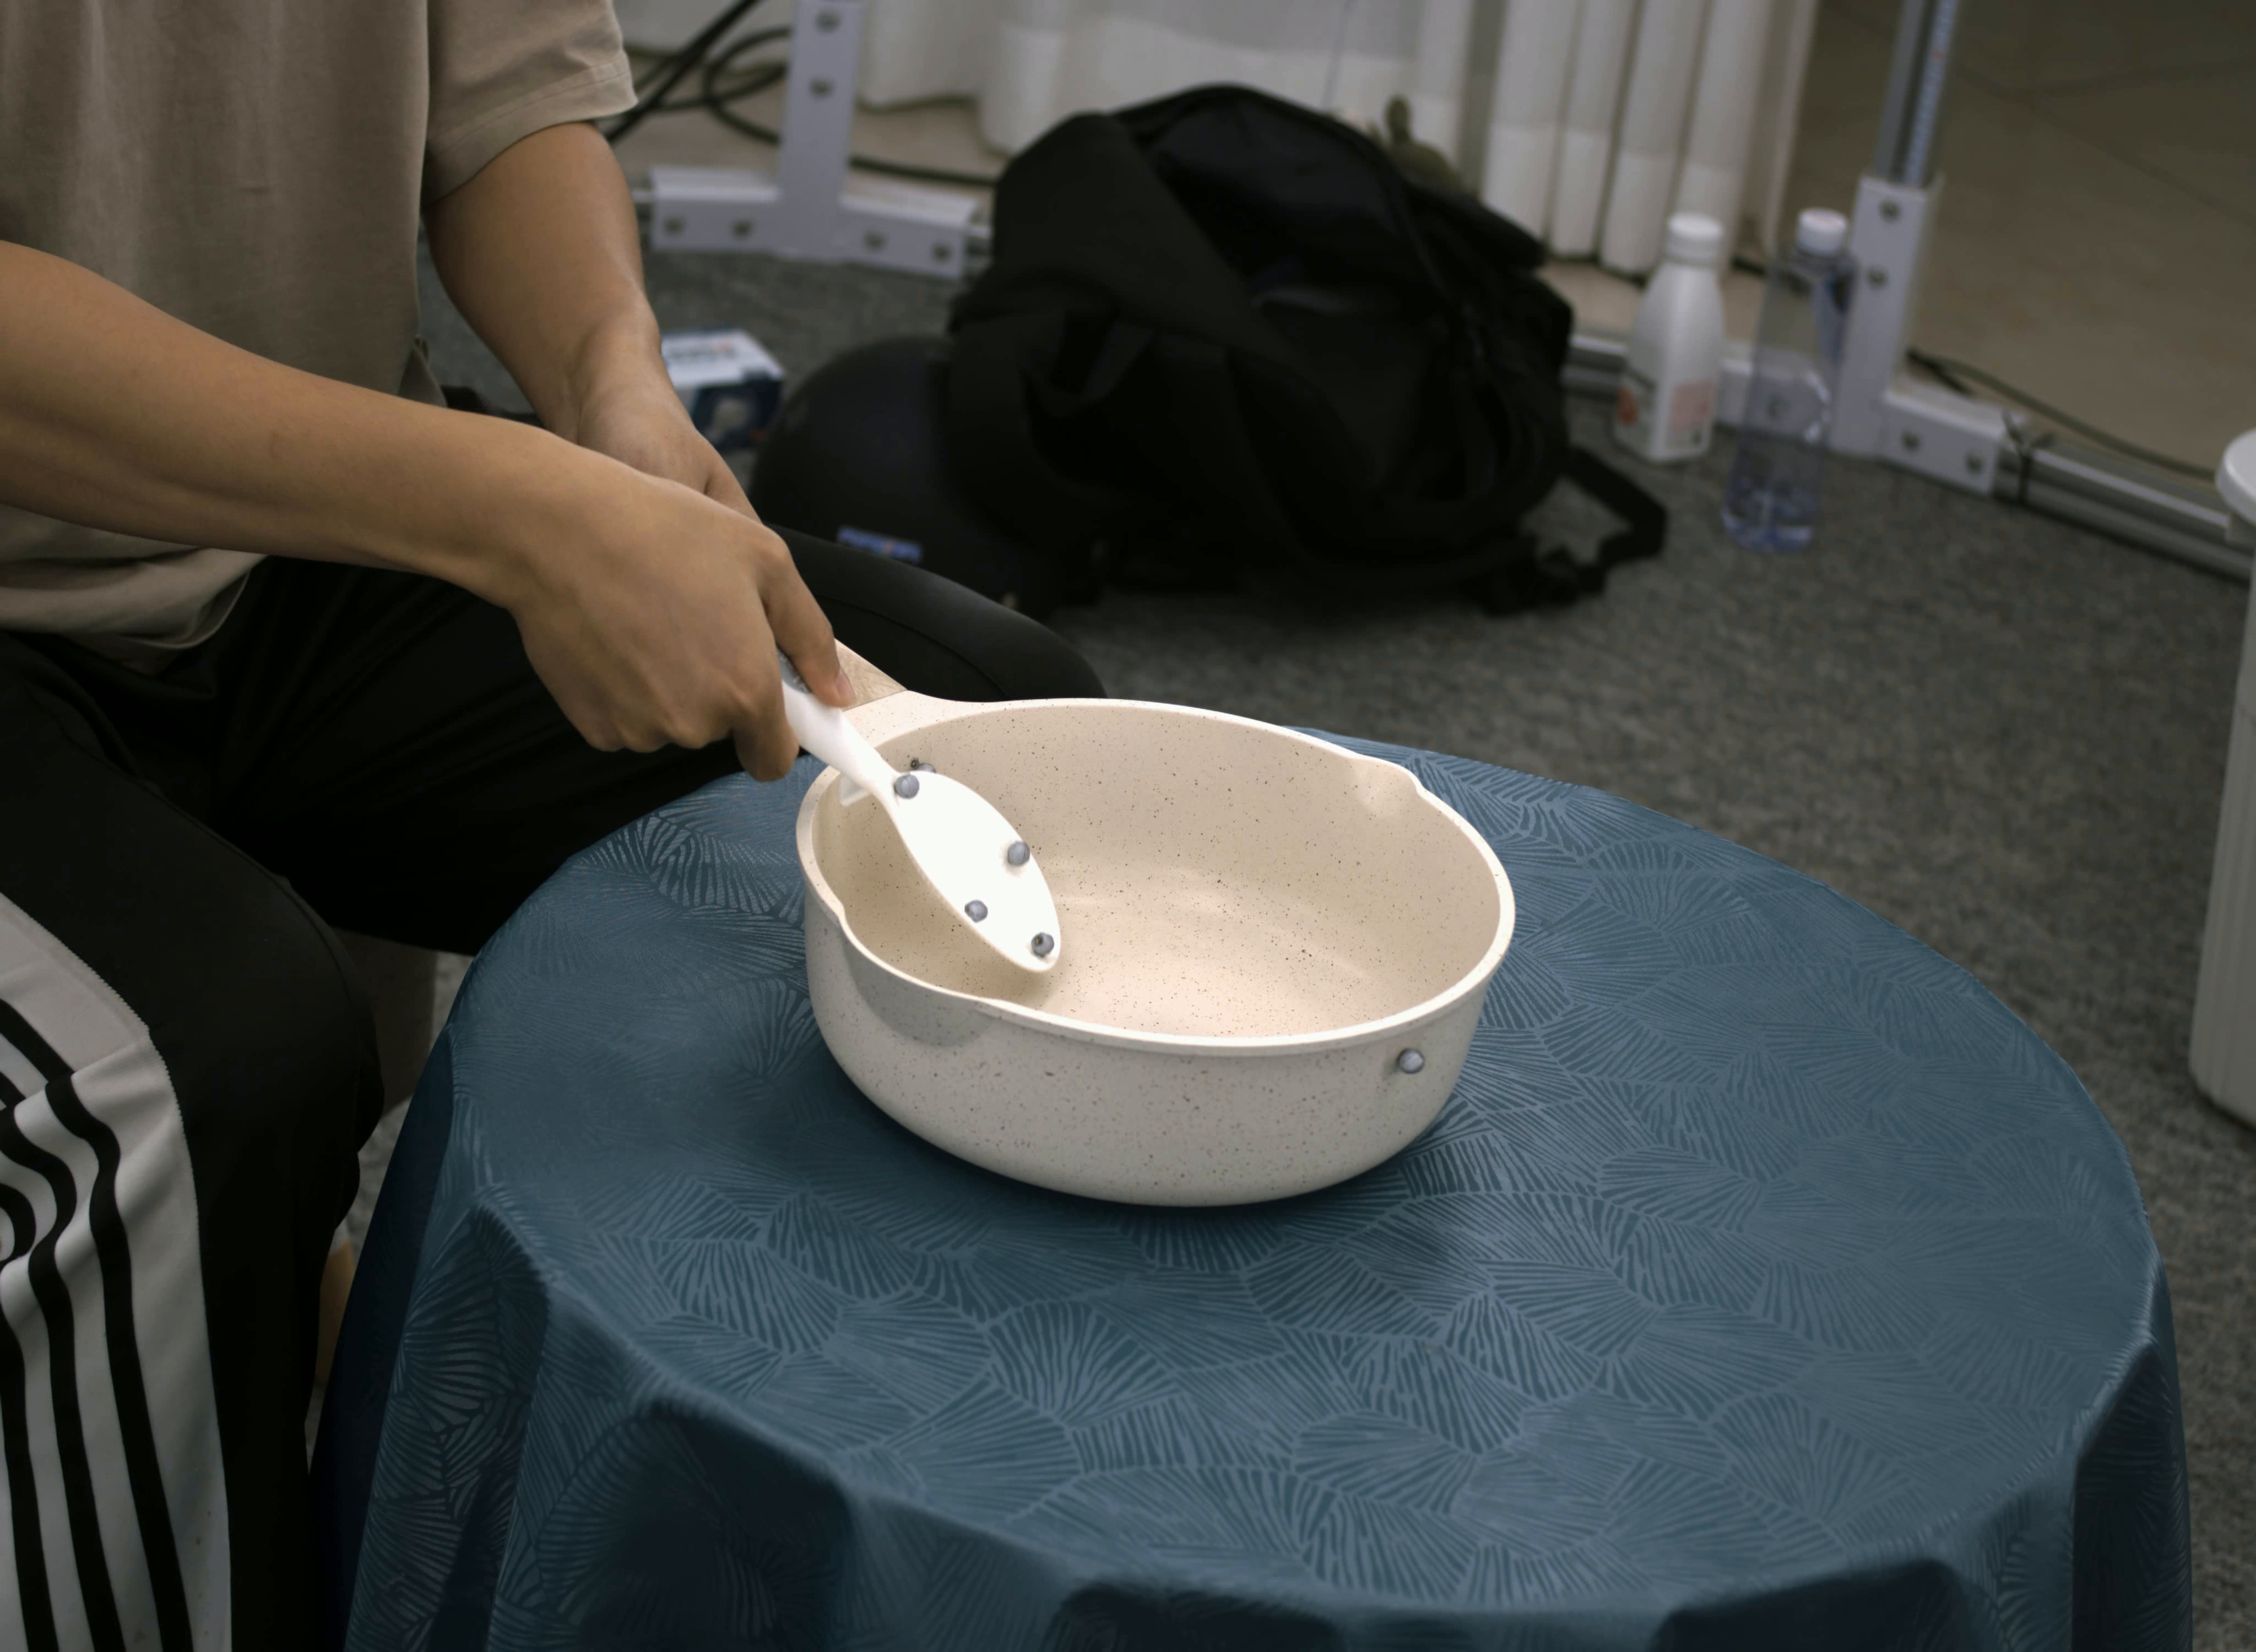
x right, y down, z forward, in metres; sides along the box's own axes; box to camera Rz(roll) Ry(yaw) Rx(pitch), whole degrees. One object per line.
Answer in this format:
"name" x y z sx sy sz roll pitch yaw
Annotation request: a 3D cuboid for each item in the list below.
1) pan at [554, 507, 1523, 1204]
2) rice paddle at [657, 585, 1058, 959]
"pan" -0.057 0.005 1.918 0.438 0.101 0.262 28 36 36
"rice paddle" -0.086 -0.018 1.859 0.203 0.029 0.069 40 34 -36
